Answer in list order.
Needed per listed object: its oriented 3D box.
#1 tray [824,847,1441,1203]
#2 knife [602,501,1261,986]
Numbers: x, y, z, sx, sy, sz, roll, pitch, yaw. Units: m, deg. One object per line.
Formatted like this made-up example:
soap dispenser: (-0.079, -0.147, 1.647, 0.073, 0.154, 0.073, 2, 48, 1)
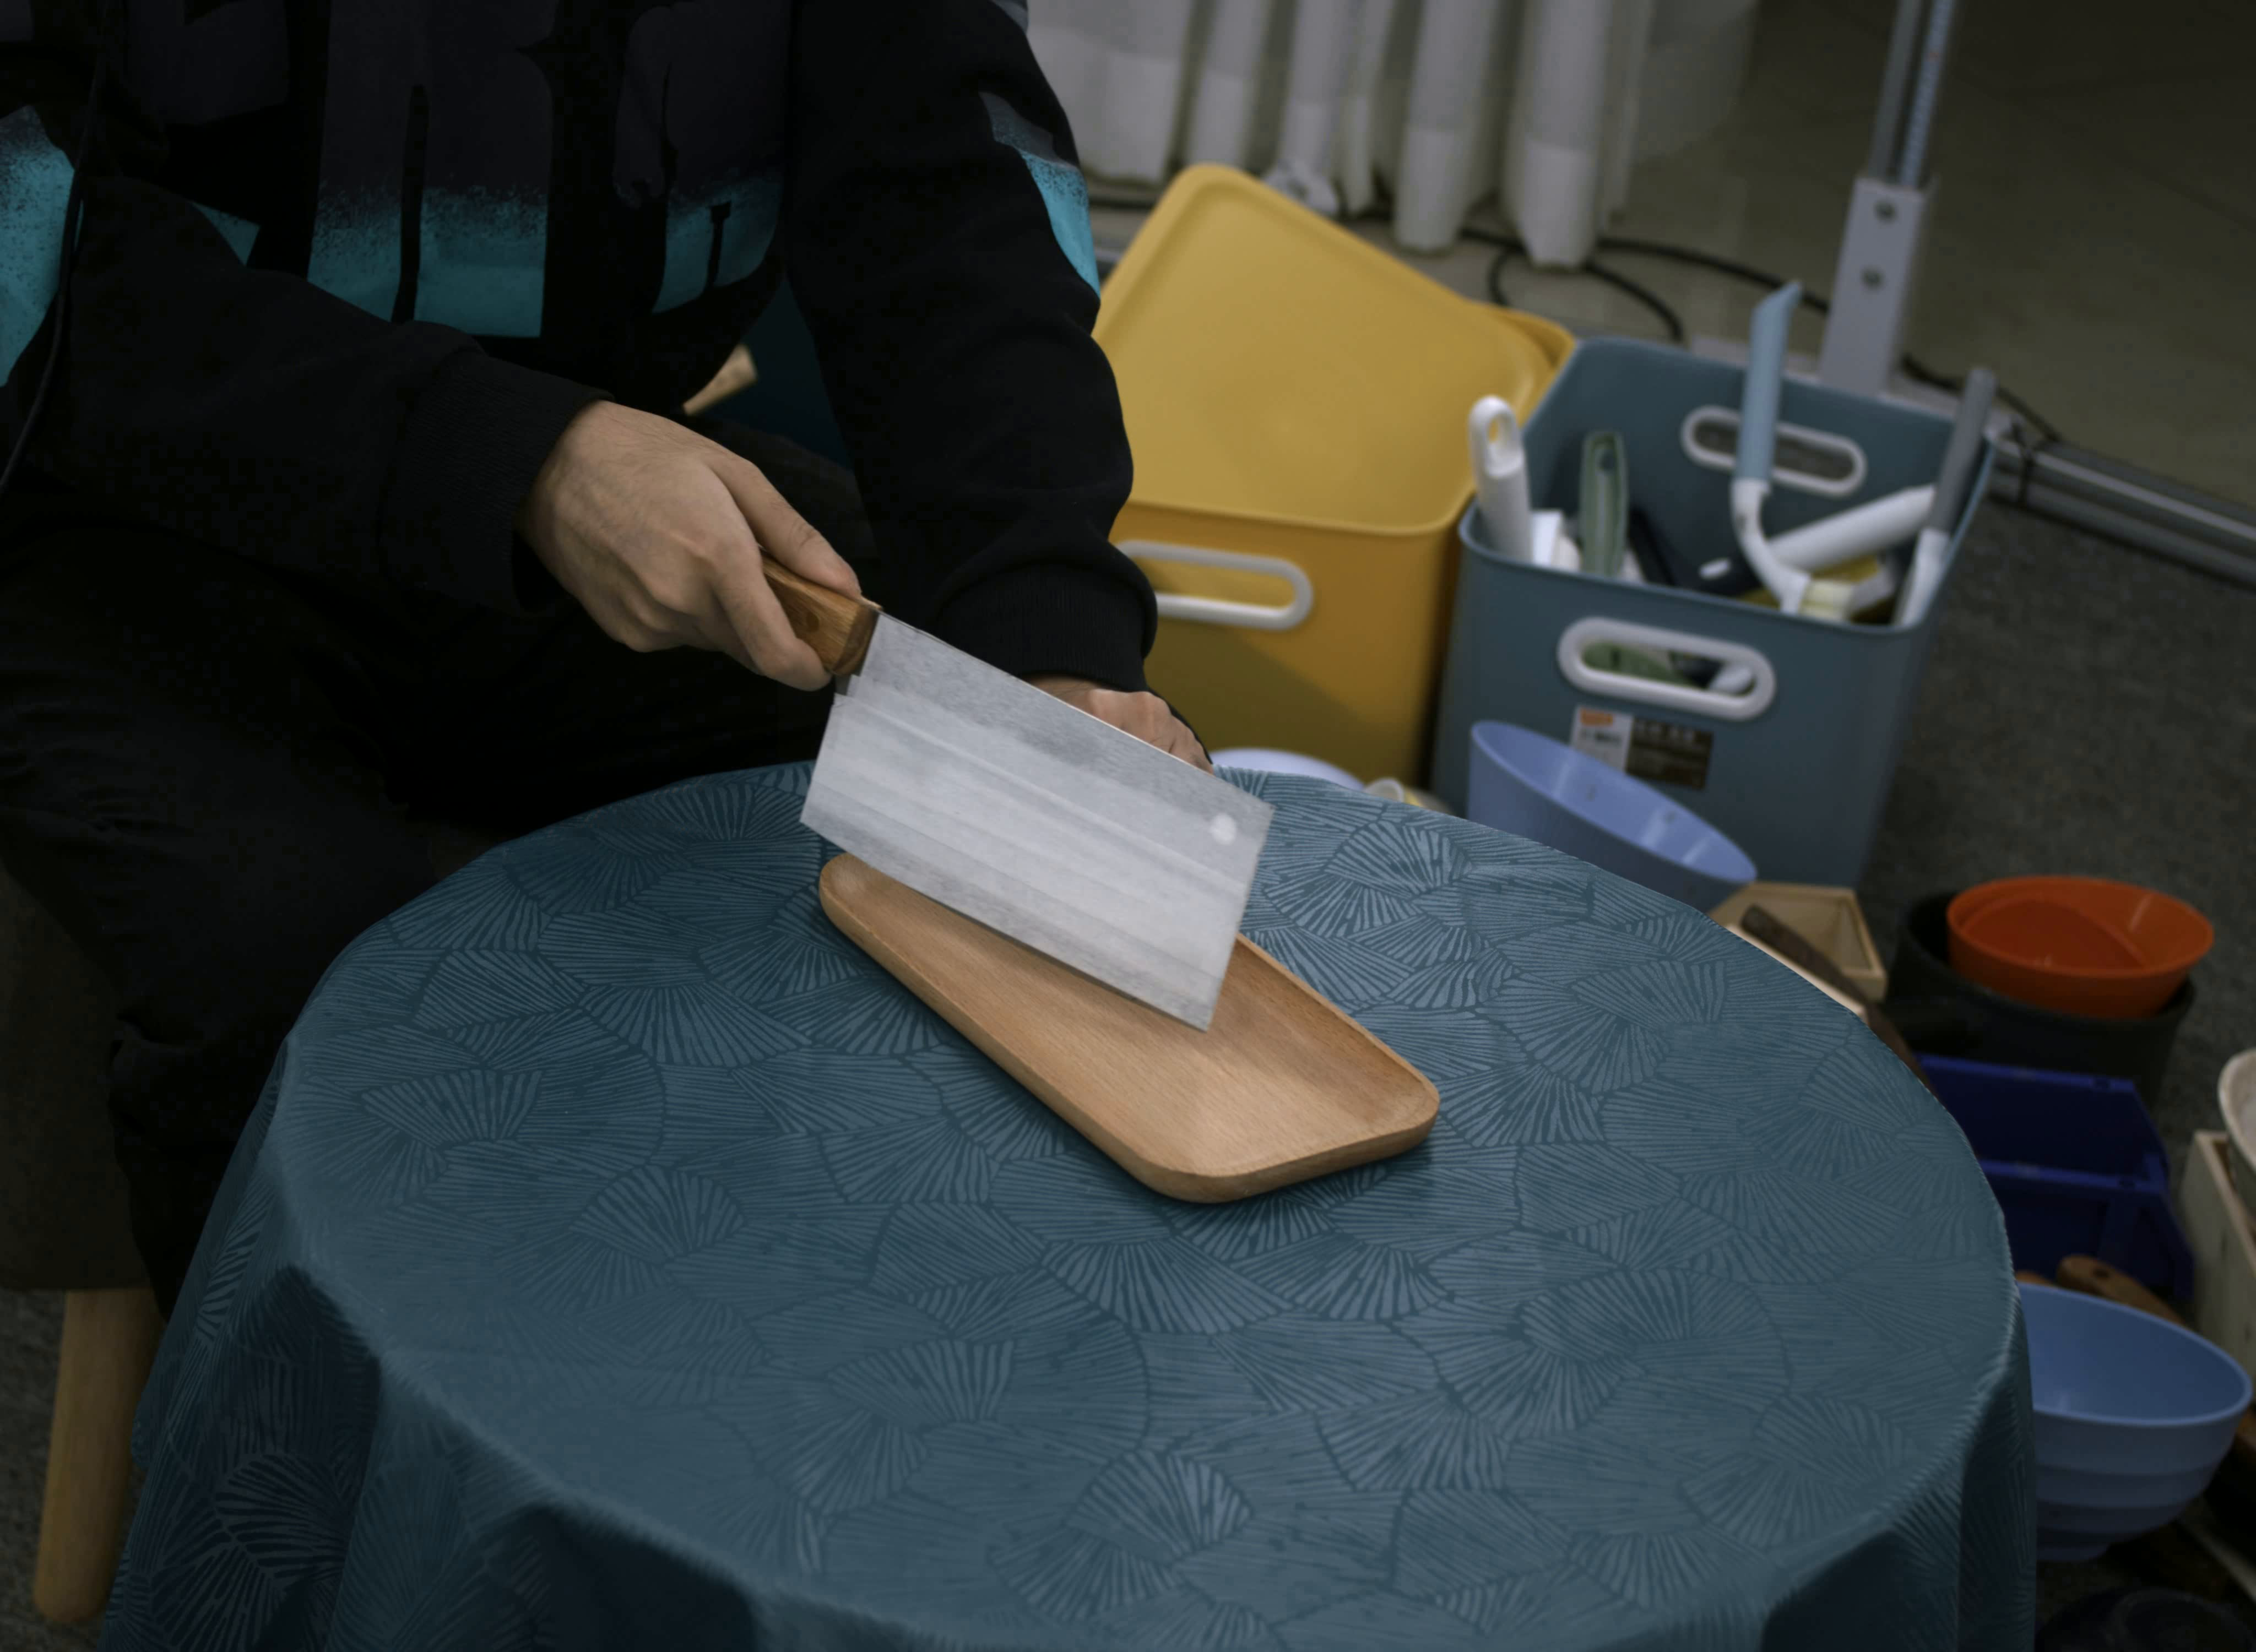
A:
tray: (-0.002, 0.062, 1.905, 0.129, 0.023, 0.253, -9, 30, -32)
knife: (-0.080, -0.028, 1.928, 0.308, 0.093, 0.021, 27, 21, 30)
